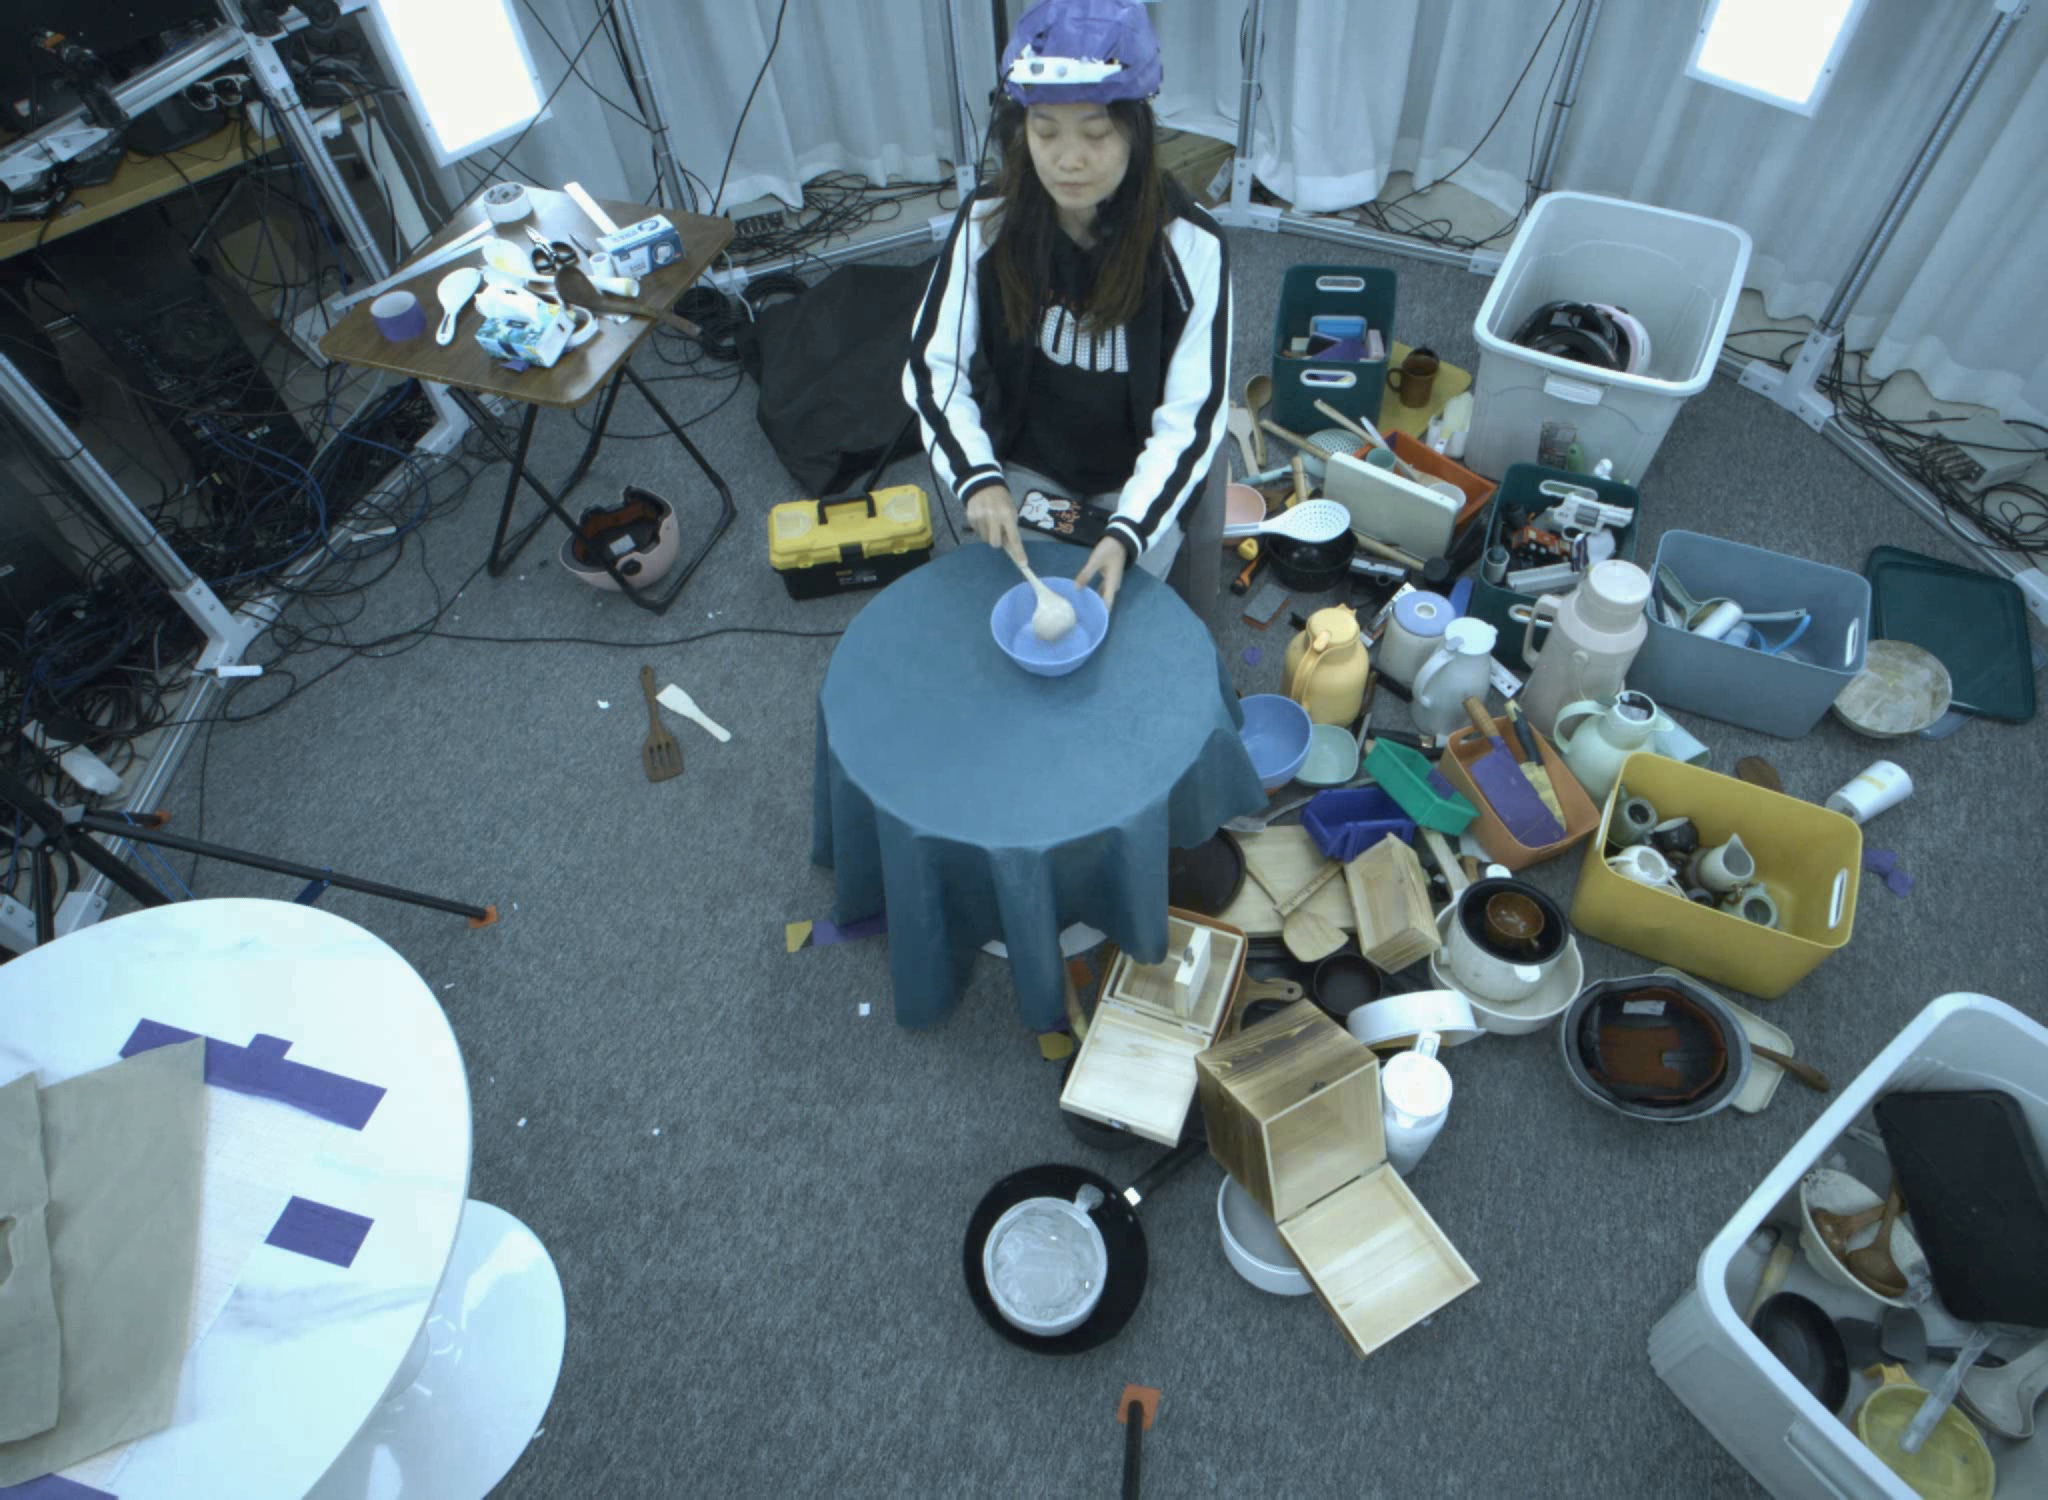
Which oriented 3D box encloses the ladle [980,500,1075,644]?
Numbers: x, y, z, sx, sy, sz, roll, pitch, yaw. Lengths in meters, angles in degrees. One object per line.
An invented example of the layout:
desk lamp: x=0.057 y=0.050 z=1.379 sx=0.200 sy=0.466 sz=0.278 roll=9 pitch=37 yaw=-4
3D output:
ladle: x=-0.005 y=-0.272 z=1.887 sx=0.073 sy=0.073 sz=0.251 roll=-25 pitch=69 yaw=-15

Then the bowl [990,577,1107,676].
bowl: x=0.037 y=-0.178 z=1.870 sx=0.176 sy=0.071 sz=0.174 roll=0 pitch=55 yaw=1
